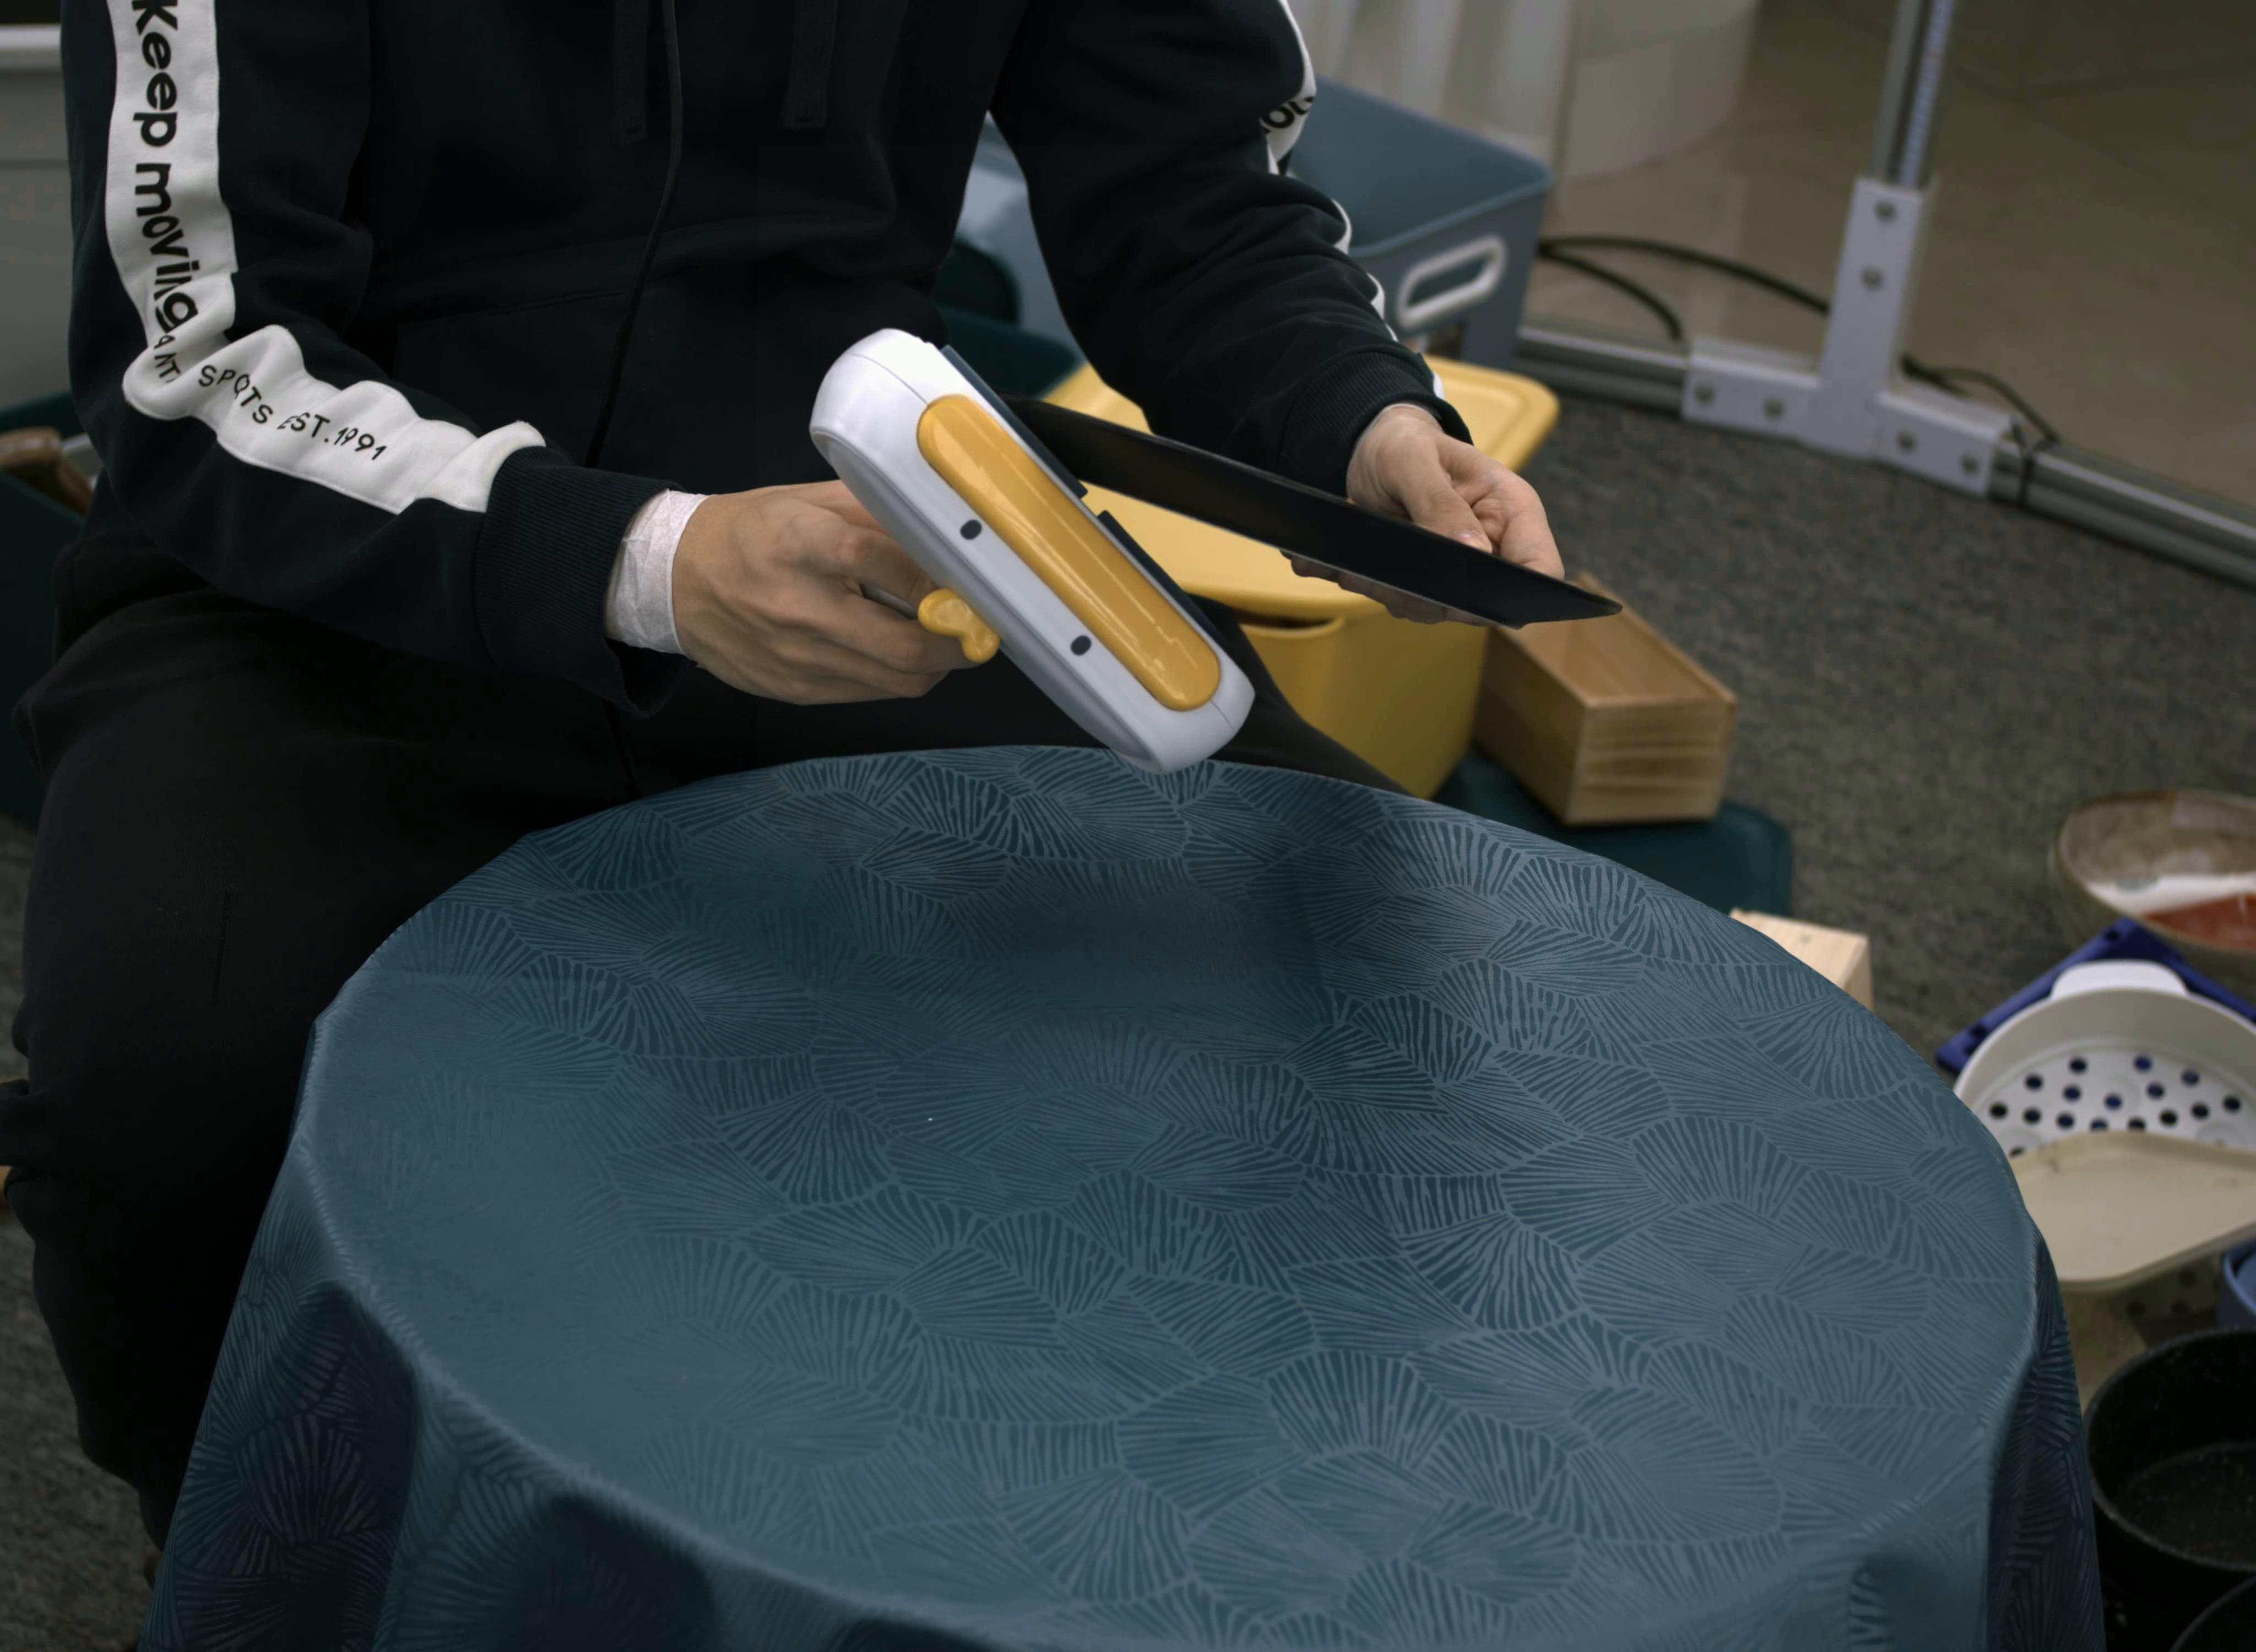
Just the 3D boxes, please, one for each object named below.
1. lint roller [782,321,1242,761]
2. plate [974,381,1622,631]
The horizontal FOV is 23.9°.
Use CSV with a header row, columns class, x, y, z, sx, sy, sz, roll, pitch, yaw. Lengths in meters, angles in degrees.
class,x,y,z,sx,sy,sz,roll,pitch,yaw
lint roller,-0.066,-0.090,1.909,0.192,0.074,0.193,40,-17,-16
plate,0.057,-0.109,1.896,0.244,0.023,0.244,19,3,-1
